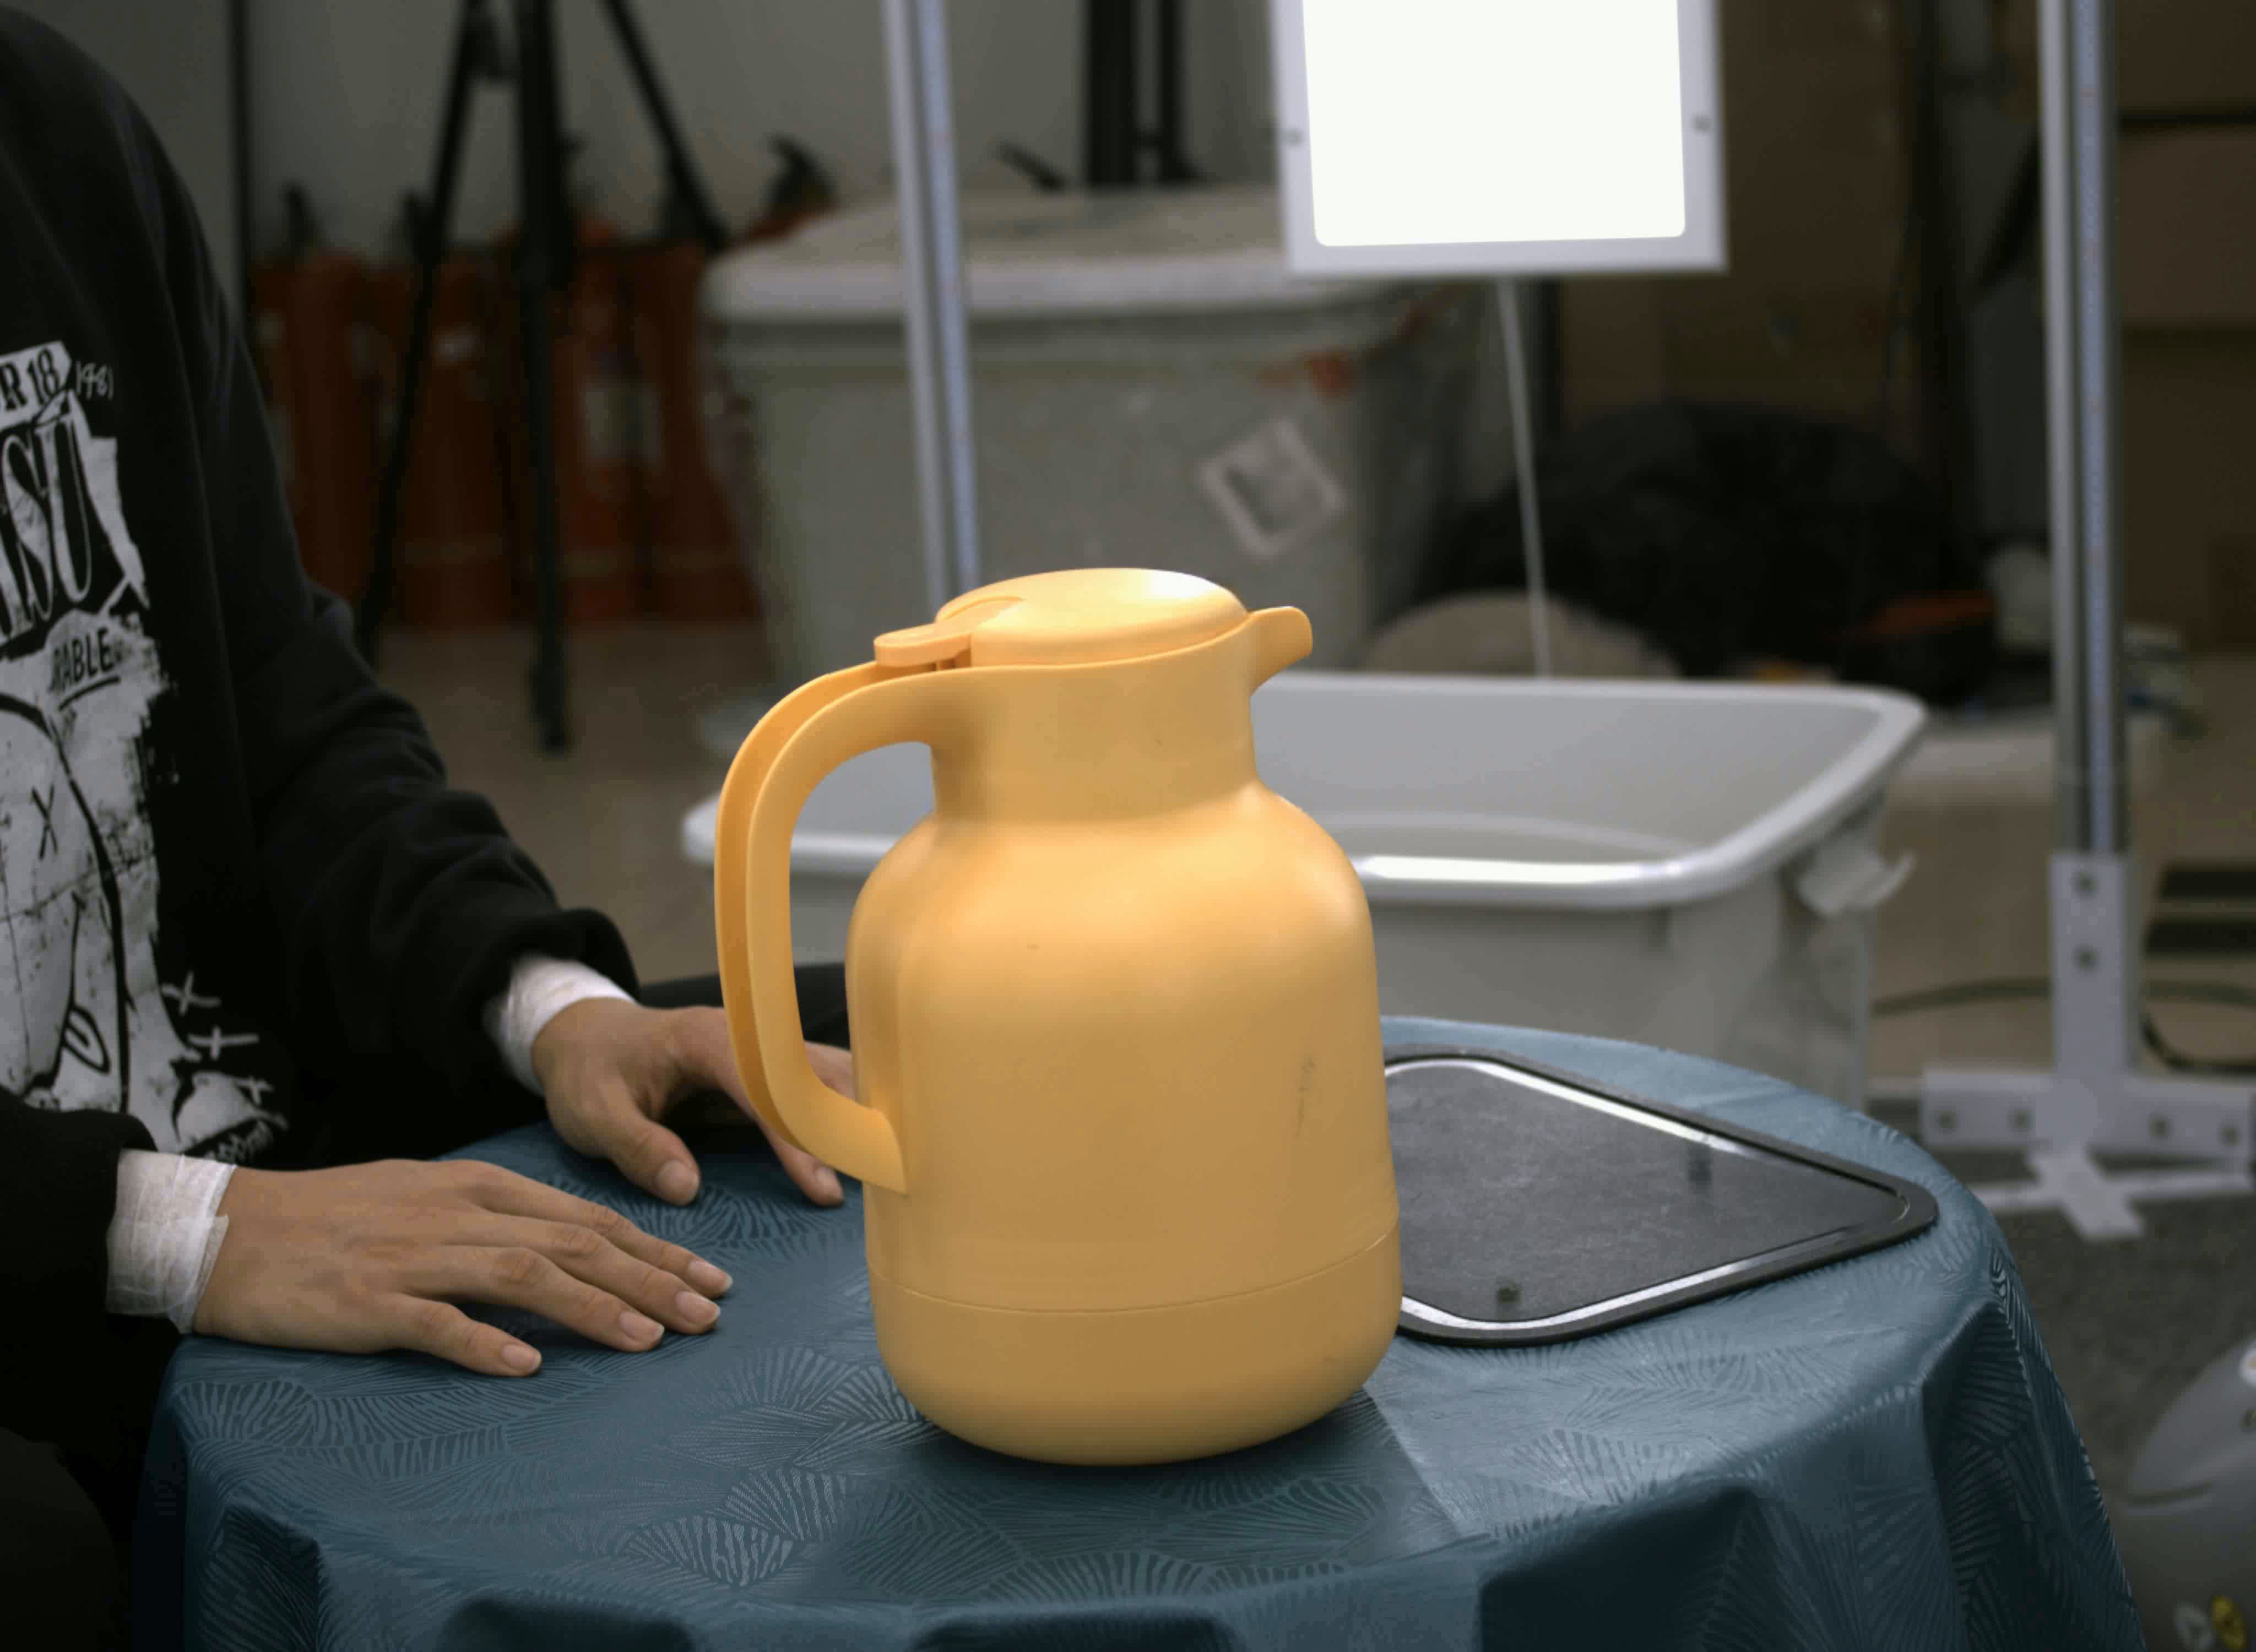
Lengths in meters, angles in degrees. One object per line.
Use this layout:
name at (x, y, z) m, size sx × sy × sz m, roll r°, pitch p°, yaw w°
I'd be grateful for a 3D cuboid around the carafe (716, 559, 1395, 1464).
carafe at (-0.023, 0.054, 1.650) m, size 0.198 × 0.261 × 0.166 m, roll -9°, pitch 12°, yaw -22°

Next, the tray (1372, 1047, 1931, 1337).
tray at (0.108, 0.118, 1.877) m, size 0.206 × 0.010 × 0.331 m, roll -13°, pitch 16°, yaw -30°
